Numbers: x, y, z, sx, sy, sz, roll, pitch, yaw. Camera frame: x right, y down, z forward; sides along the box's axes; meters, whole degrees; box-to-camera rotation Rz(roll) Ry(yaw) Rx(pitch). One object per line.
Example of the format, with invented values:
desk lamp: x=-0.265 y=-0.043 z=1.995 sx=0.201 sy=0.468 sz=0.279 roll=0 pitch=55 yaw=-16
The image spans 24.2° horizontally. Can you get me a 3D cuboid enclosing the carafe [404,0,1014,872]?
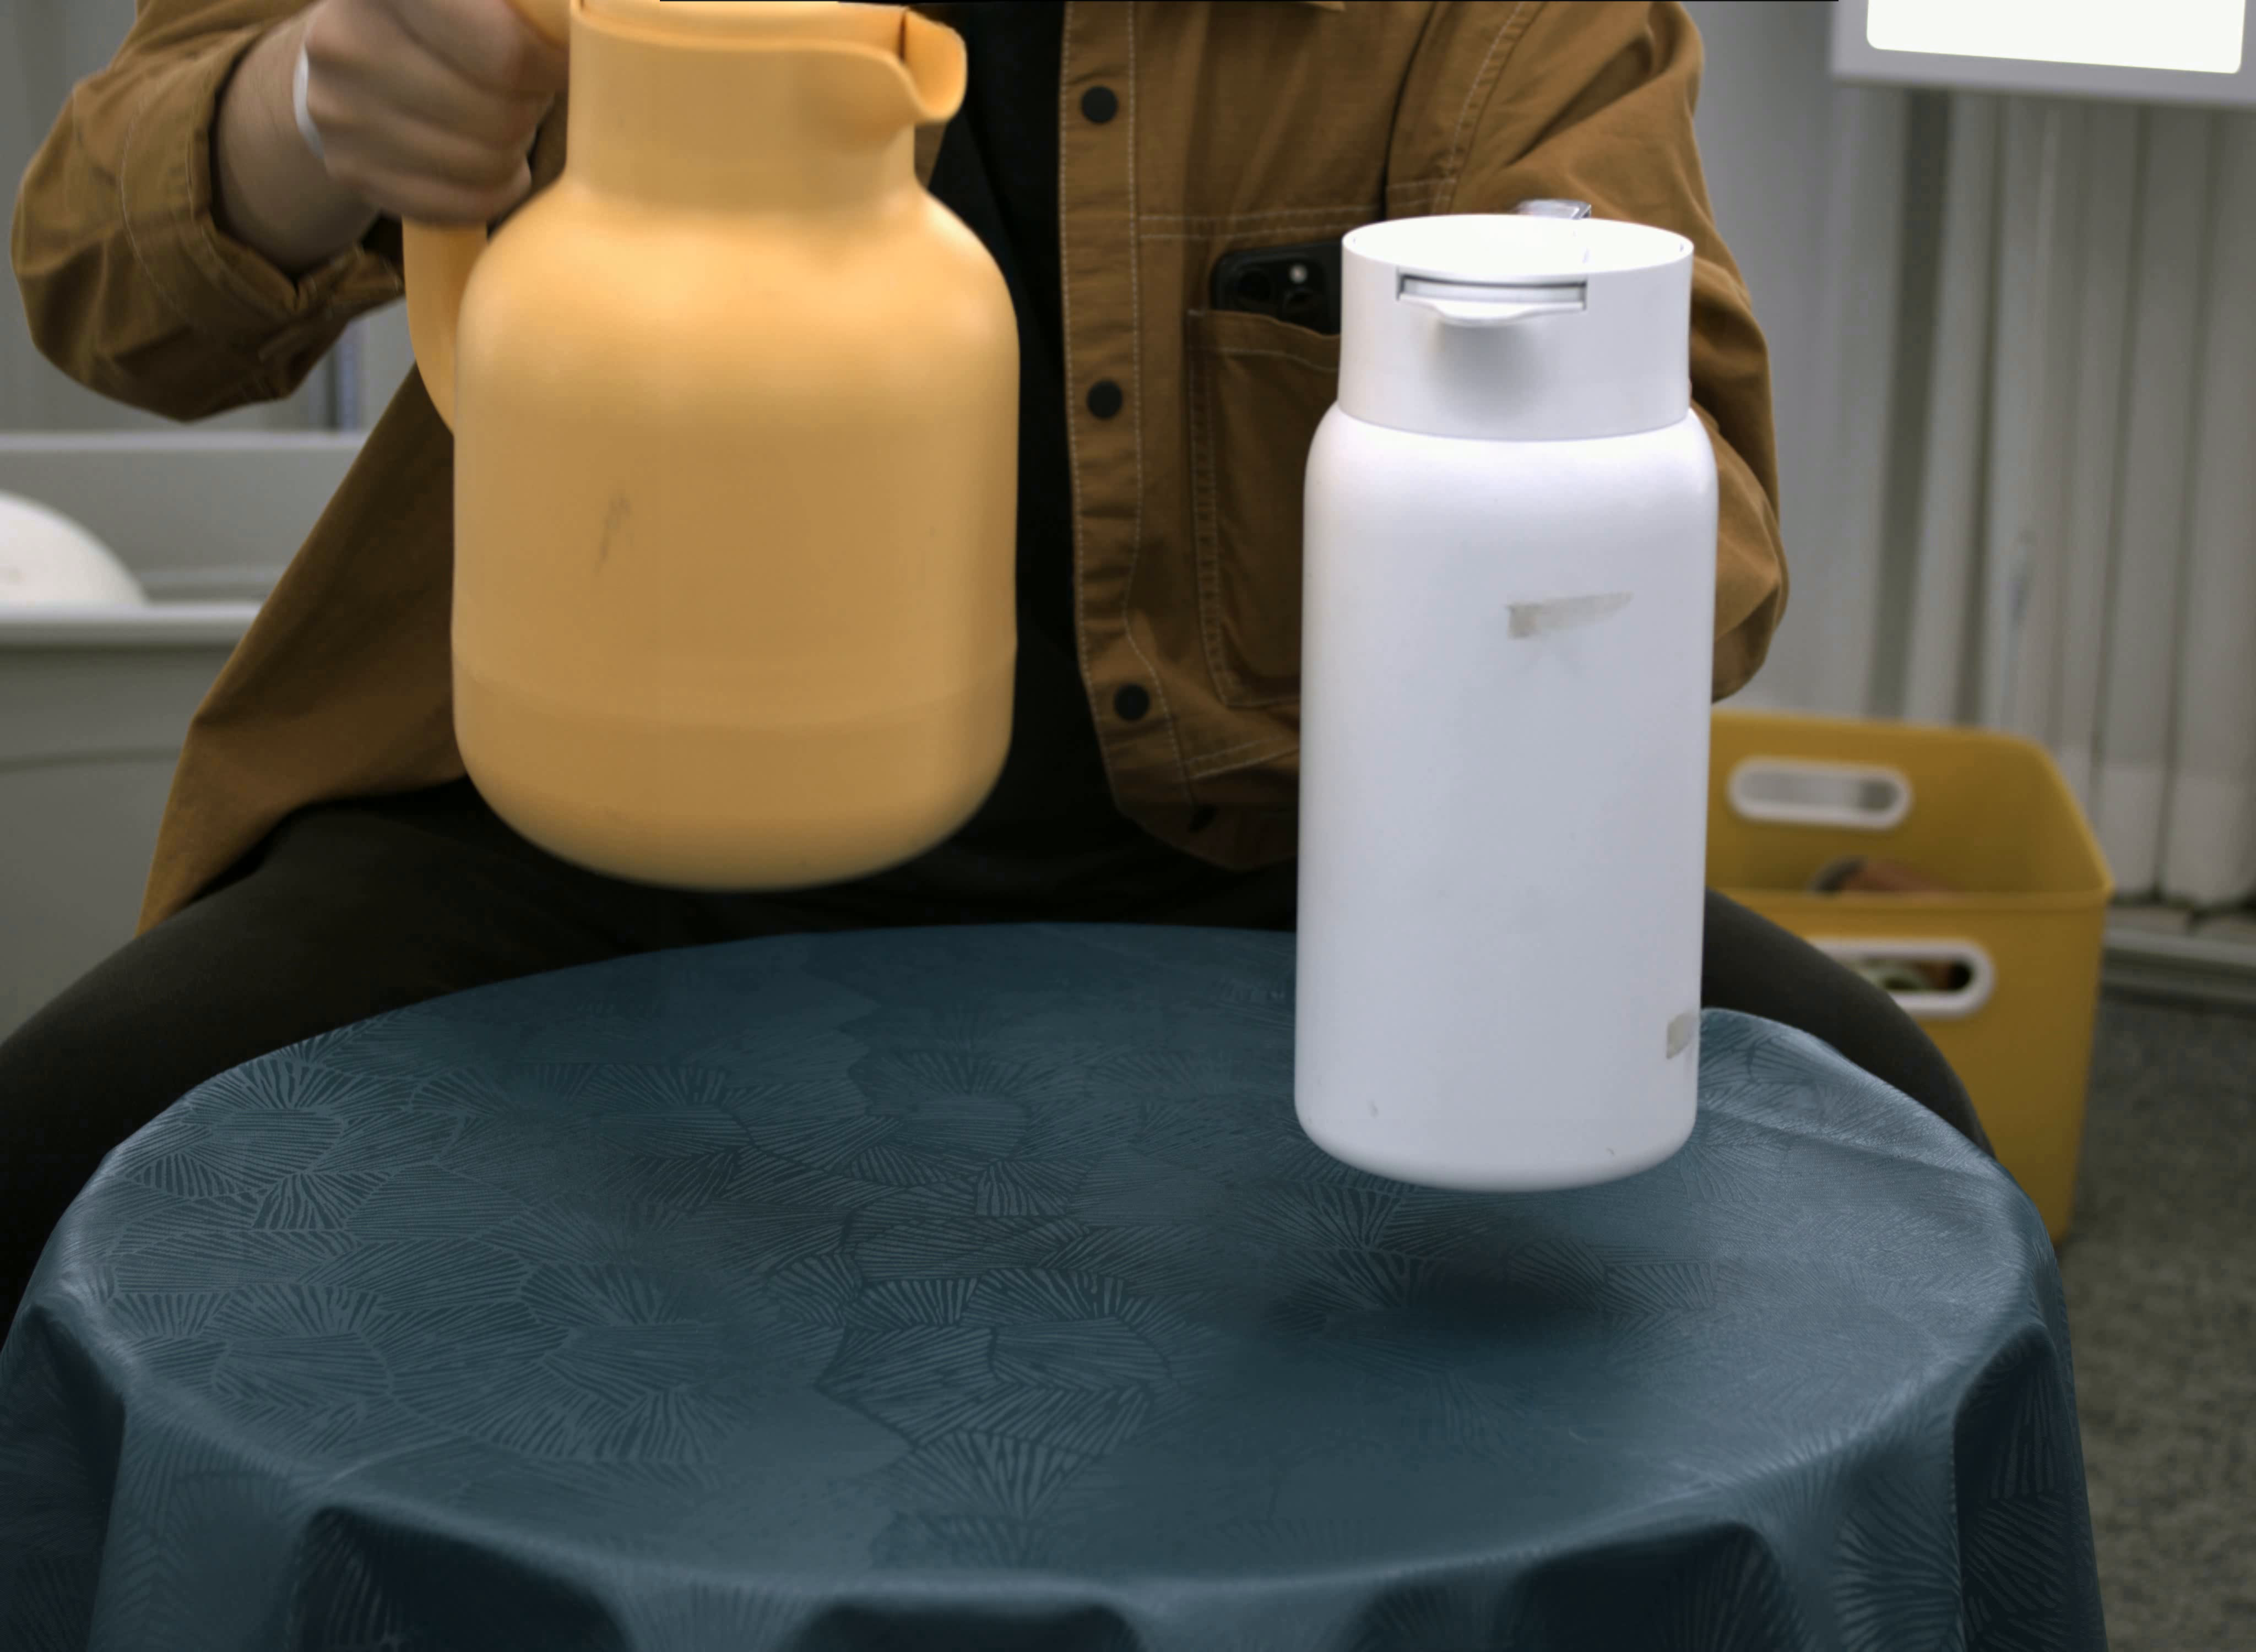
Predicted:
carafe: x=-0.127 y=-0.133 z=1.499 sx=0.199 sy=0.262 sz=0.164 roll=21 pitch=25 yaw=35

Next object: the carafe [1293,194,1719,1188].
carafe: x=0.110 y=-0.043 z=1.512 sx=0.123 sy=0.271 sz=0.172 roll=2 pitch=16 yaw=13
